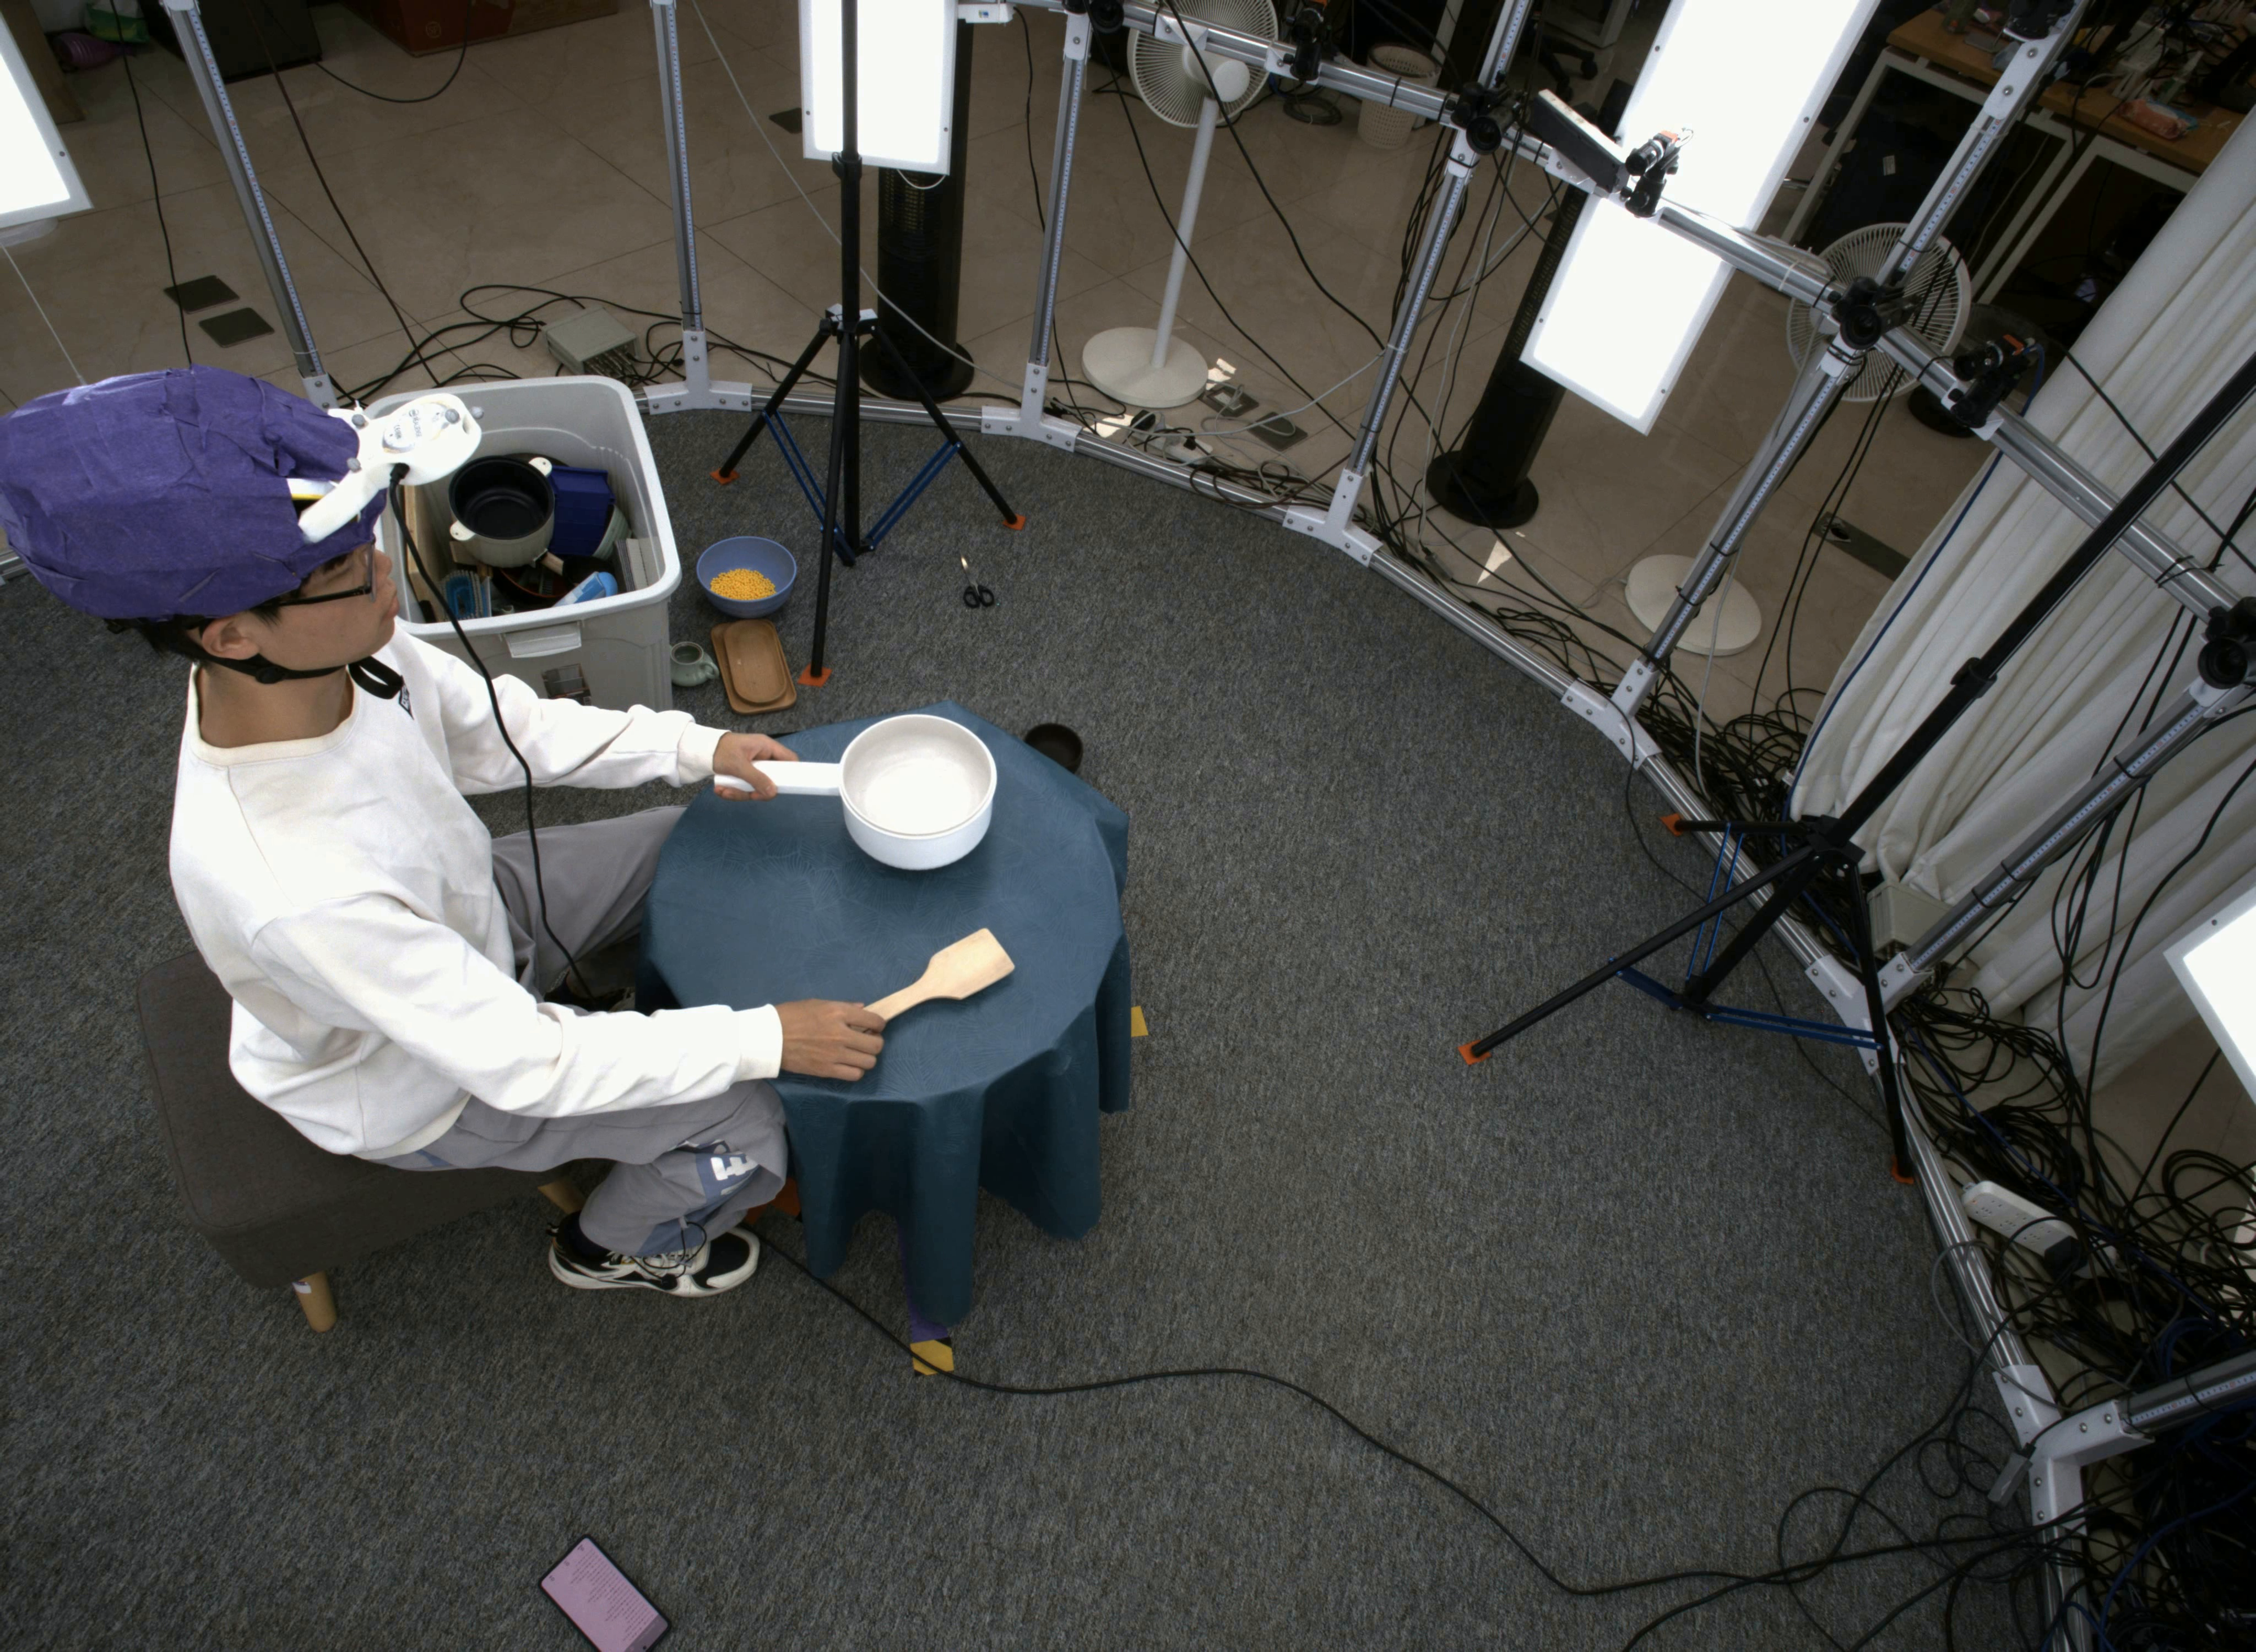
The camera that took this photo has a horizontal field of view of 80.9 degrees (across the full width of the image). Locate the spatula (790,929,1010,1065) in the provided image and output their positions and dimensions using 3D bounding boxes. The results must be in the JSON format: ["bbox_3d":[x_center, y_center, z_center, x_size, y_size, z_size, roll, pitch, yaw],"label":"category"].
[{"bbox_3d":[-0.277,0.212,1.582,0.294,0.011,0.071,-27,68,-31],"label":"spatula"}]

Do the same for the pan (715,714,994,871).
[{"bbox_3d":[-0.352,-0.041,1.698,0.353,0.104,0.197,1,56,-8],"label":"pan"}]
